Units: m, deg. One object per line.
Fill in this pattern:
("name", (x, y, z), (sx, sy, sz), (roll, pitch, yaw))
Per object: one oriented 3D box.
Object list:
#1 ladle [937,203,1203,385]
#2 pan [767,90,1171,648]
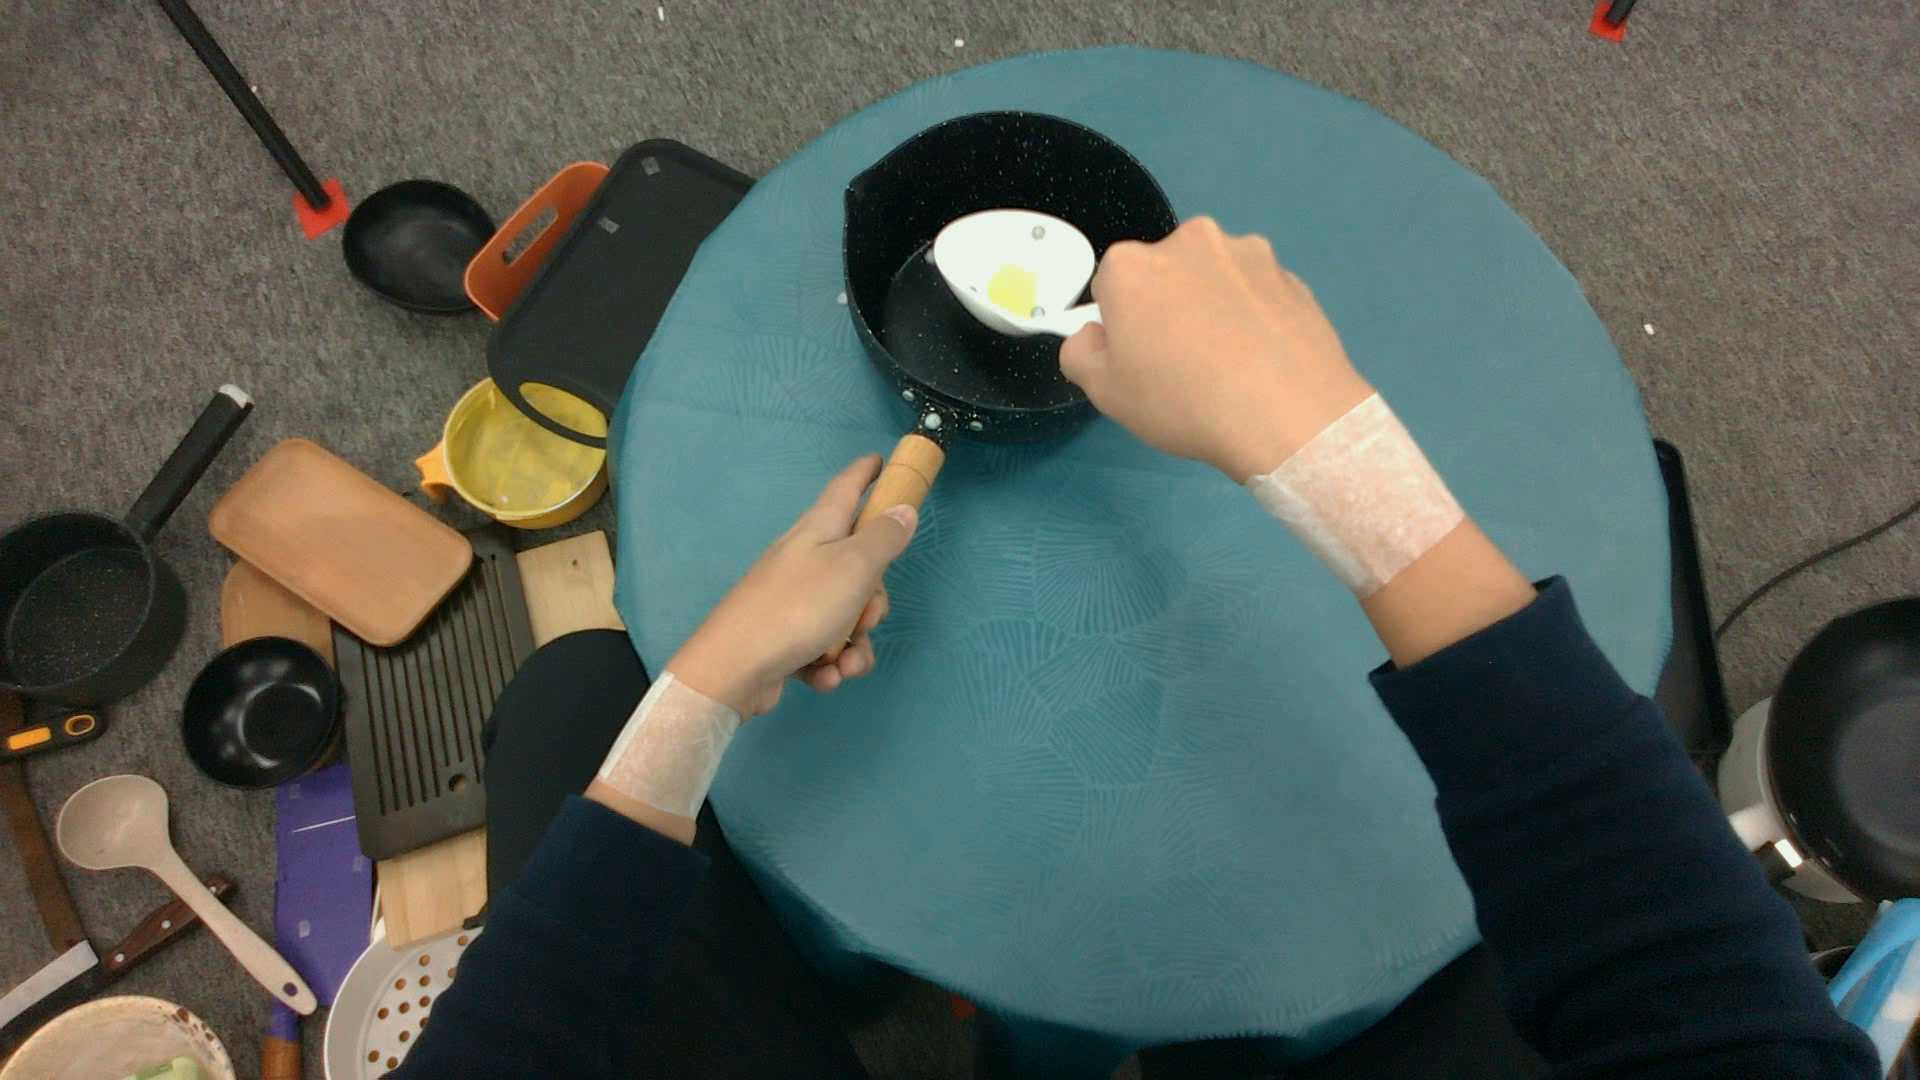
("ladle", (0.052, -0.127, 0.667), (0.090, 0.293, 0.070), (4, 102, -13))
("pan", (-0.013, -0.083, 0.735), (0.207, 0.108, 0.344), (22, 70, 4))
